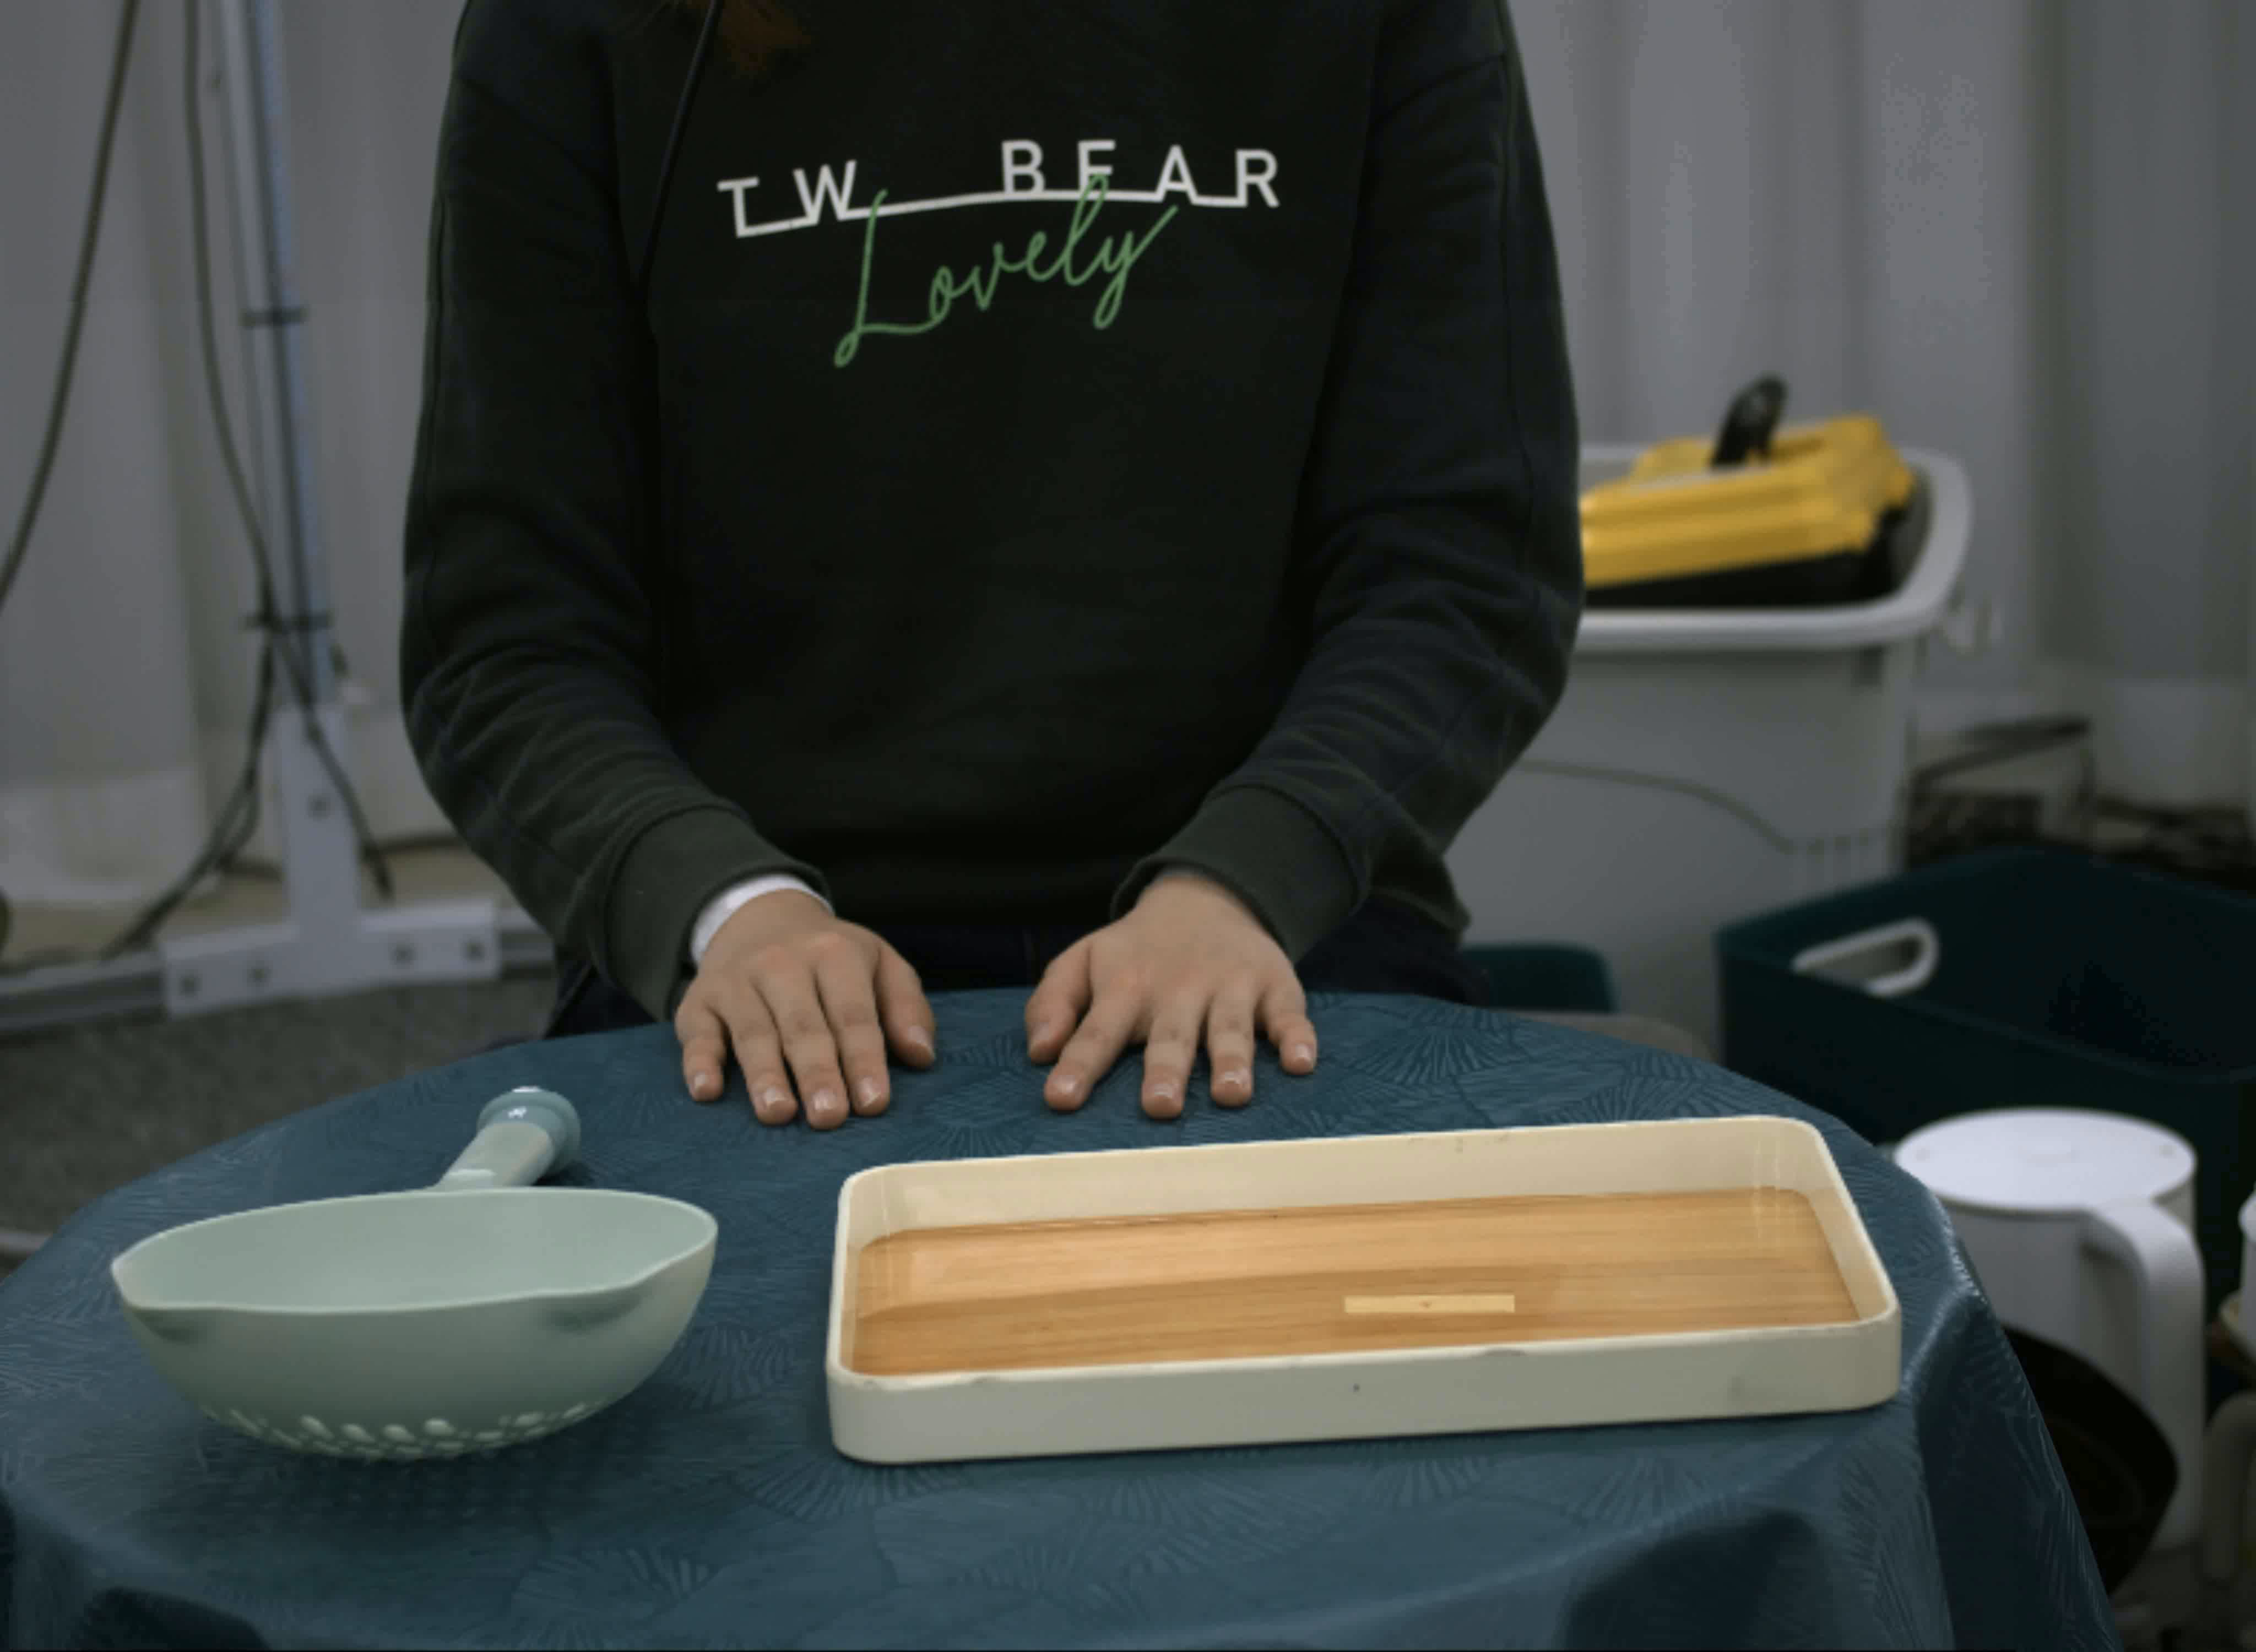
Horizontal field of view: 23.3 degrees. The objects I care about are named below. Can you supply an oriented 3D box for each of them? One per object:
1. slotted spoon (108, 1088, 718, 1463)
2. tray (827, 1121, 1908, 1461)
[{"bbox_3d":[-0.194,0.117,1.618,0.169,0.075,0.361,-2,15,2],"label":"slotted spoon"},{"bbox_3d":[0.065,0.133,1.584,0.299,0.027,0.193,-3,15,0],"label":"tray"}]
